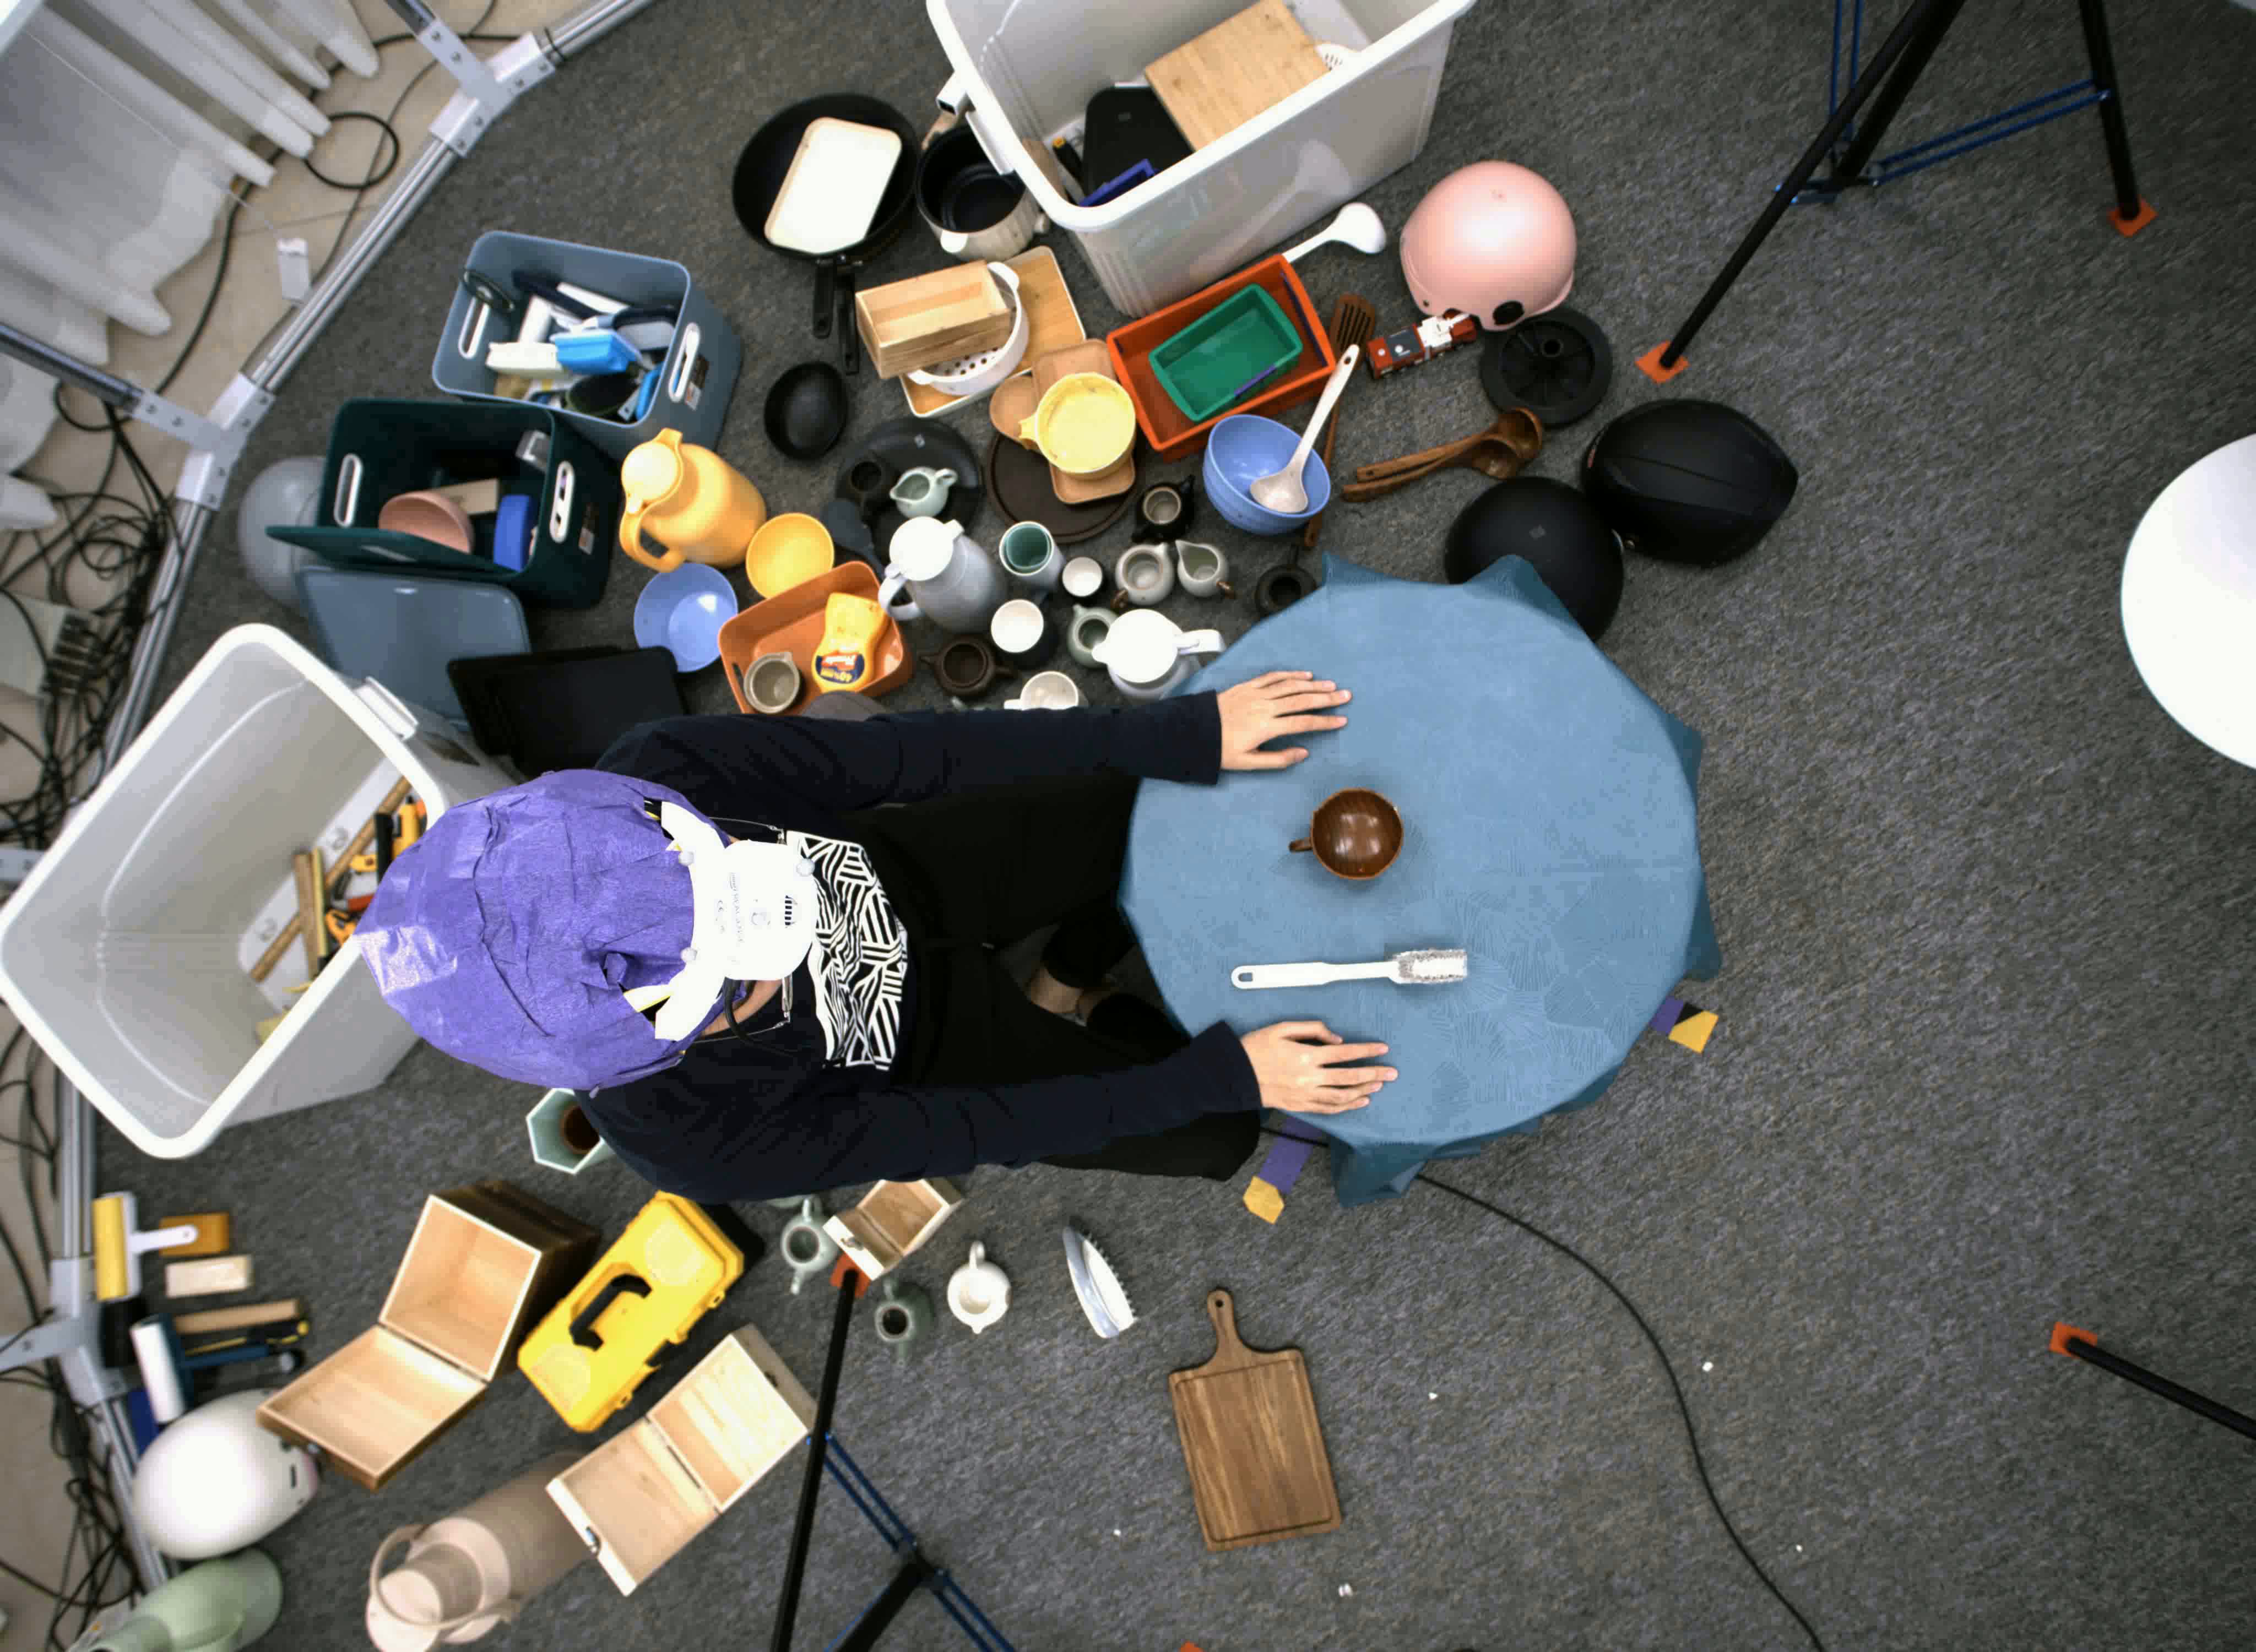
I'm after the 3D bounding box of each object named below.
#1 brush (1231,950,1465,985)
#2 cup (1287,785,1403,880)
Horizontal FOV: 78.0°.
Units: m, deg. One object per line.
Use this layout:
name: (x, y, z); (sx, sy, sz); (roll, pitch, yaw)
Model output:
brush: (0.226, 0.146, 1.439); (0.244, 0.050, 0.034); (-1, 89, 10)
cup: (0.224, 0.010, 1.435); (0.120, 0.068, 0.095); (-12, 86, 7)
